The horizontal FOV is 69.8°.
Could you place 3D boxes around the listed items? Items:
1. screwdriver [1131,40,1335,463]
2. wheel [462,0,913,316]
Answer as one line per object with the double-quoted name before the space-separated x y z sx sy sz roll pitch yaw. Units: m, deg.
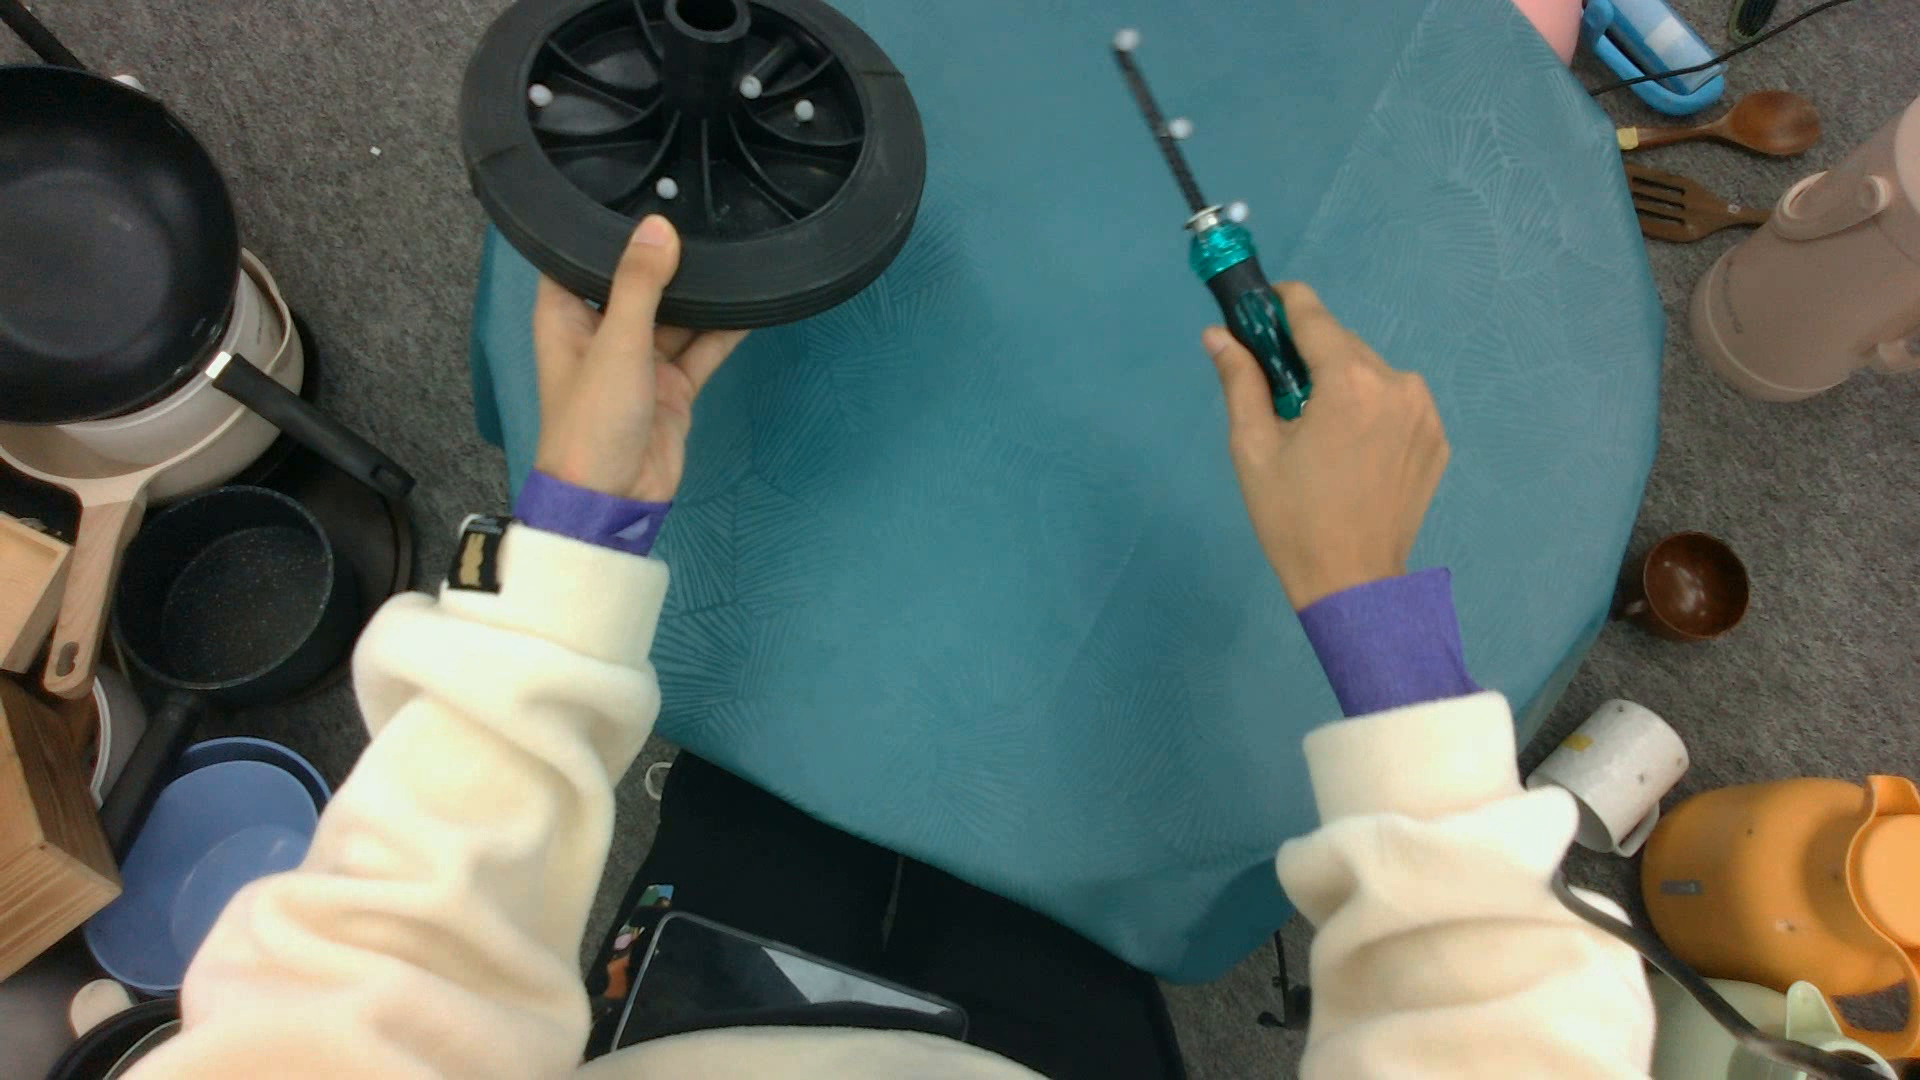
"screwdriver" 0.108 -0.122 0.570 0.034 0.033 0.190 -20 83 -8
"wheel" -0.108 -0.185 0.568 0.187 0.079 0.190 13 57 -8
